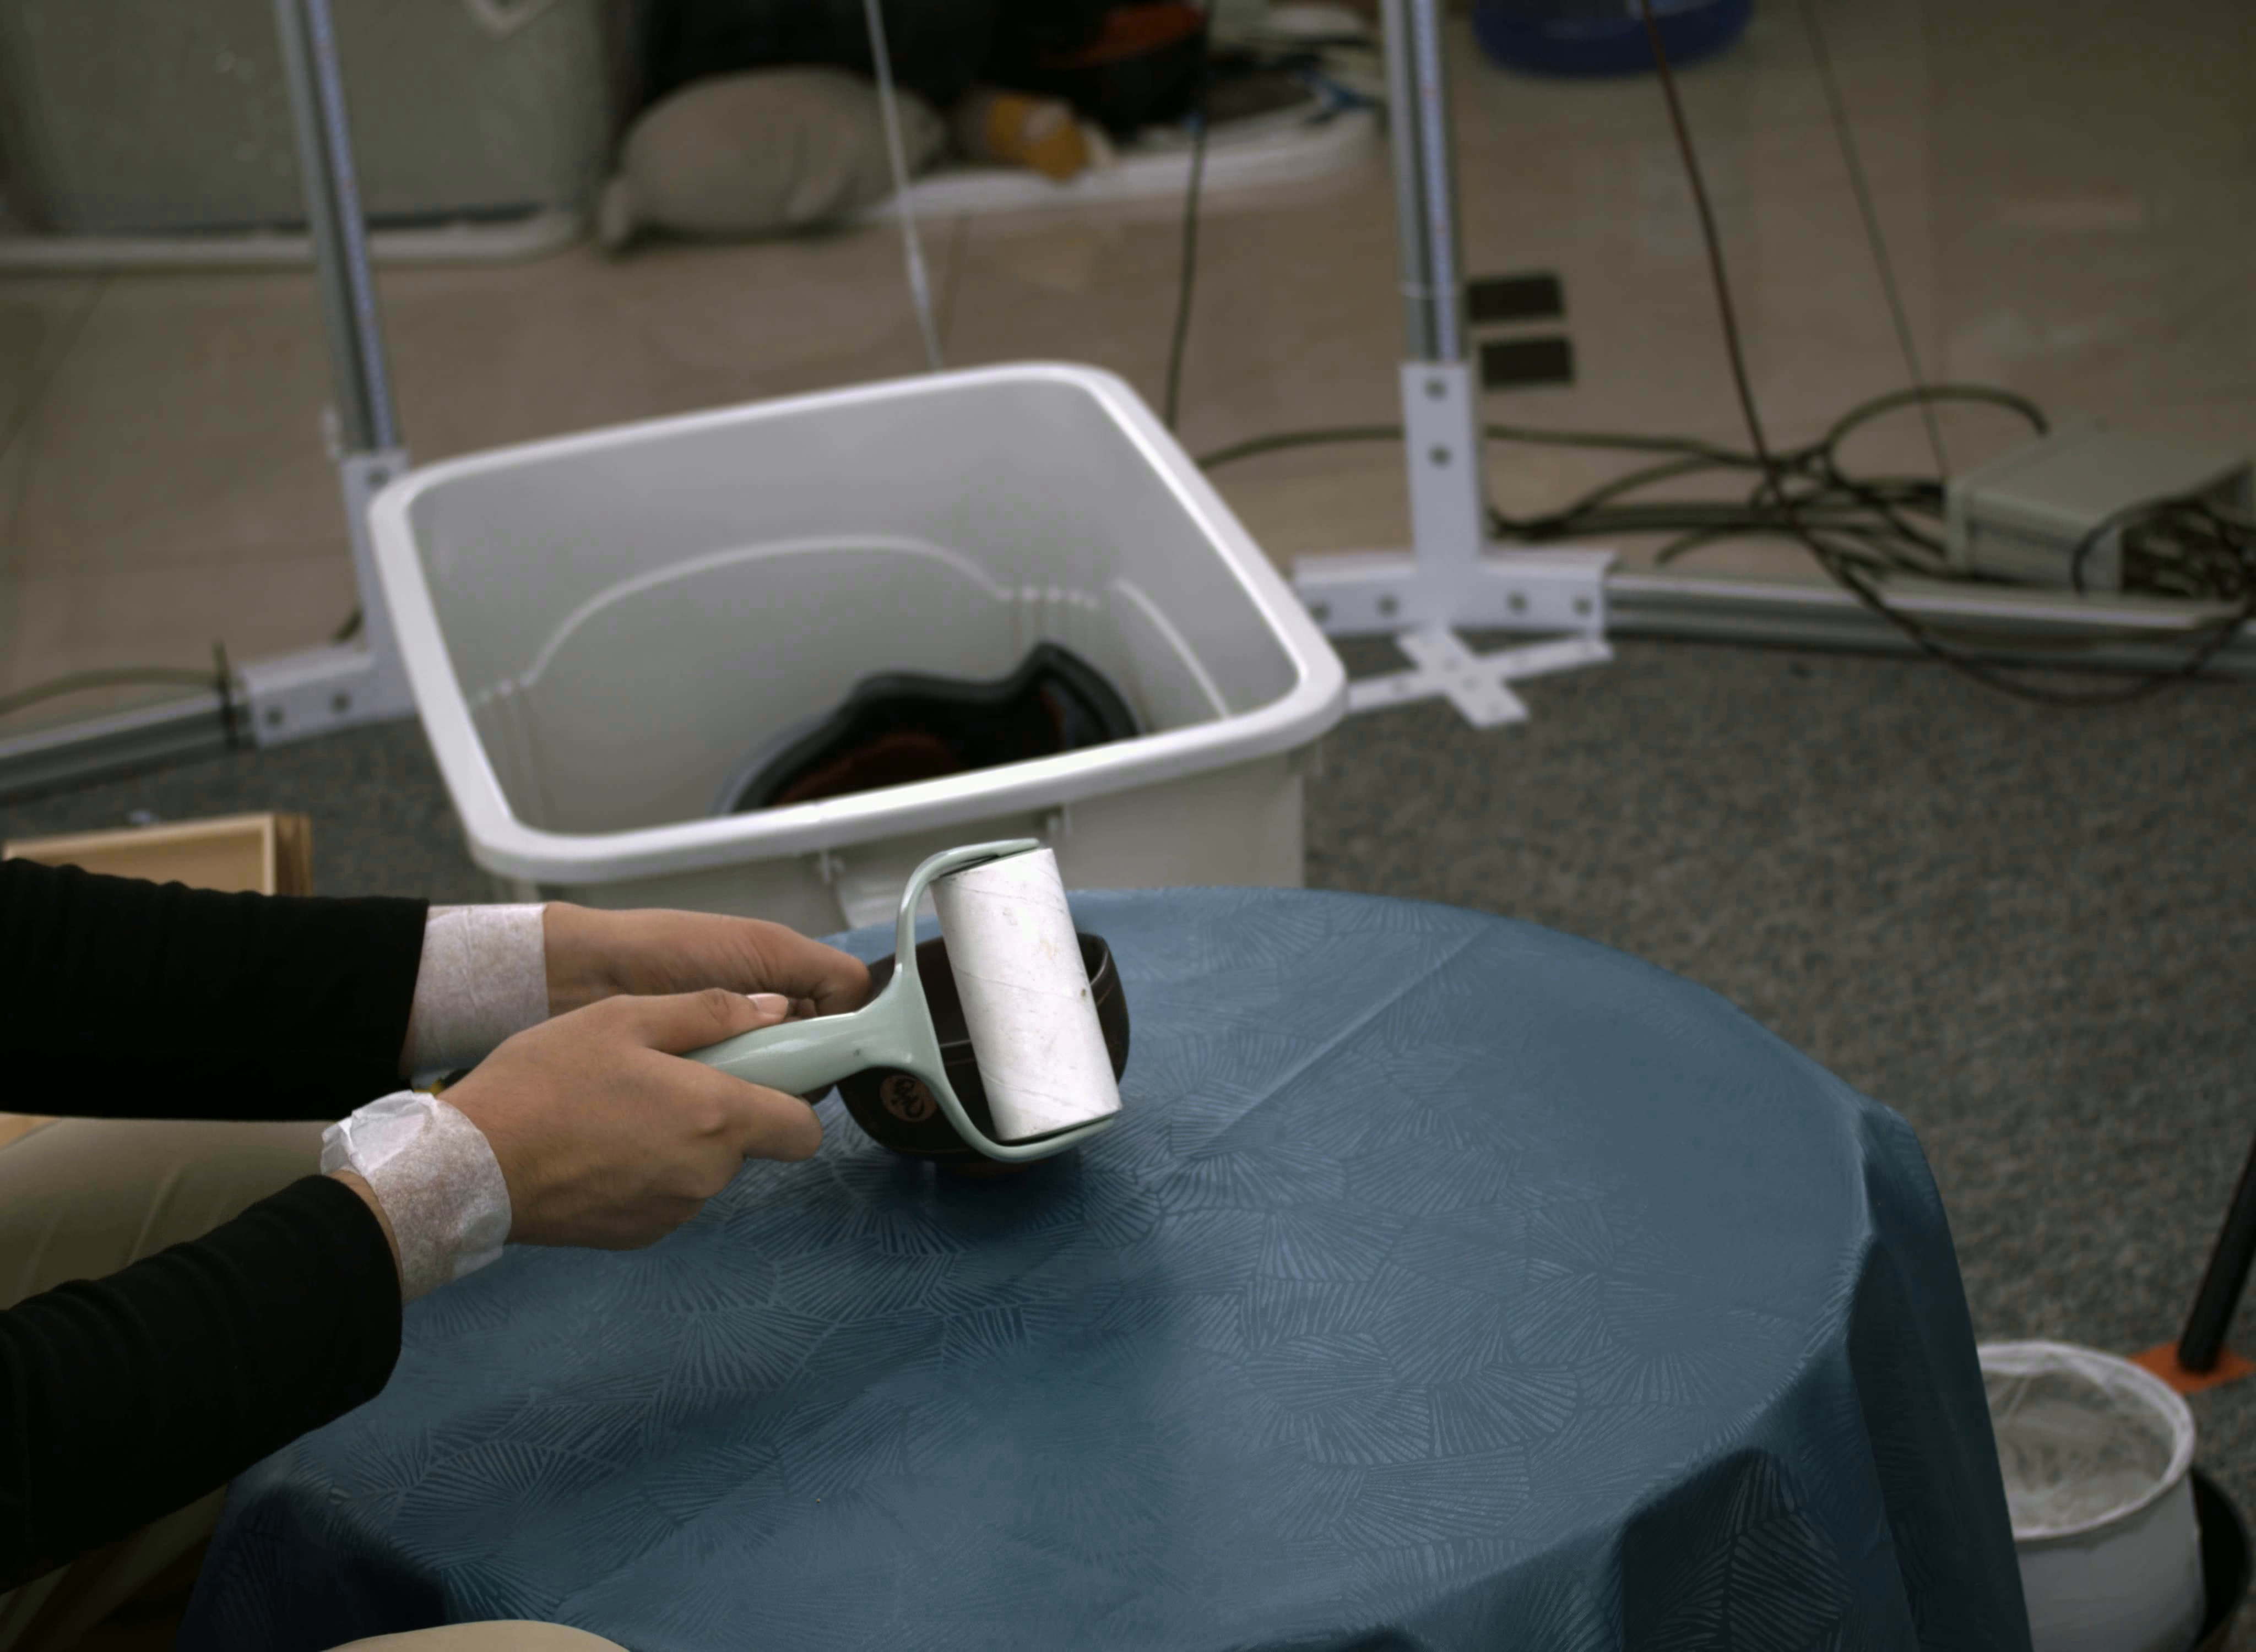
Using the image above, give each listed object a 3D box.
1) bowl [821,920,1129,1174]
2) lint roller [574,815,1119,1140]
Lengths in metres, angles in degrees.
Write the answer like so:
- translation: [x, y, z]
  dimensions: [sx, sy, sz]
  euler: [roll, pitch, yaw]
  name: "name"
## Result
- translation: [-0.055, 0.090, 2.173]
  dimensions: [0.118, 0.071, 0.116]
  euler: [-12, 22, 5]
  name: "bowl"
- translation: [-0.105, 0.071, 2.042]
  dimensions: [0.197, 0.117, 0.048]
  euler: [-15, 2, -23]
  name: "lint roller"
